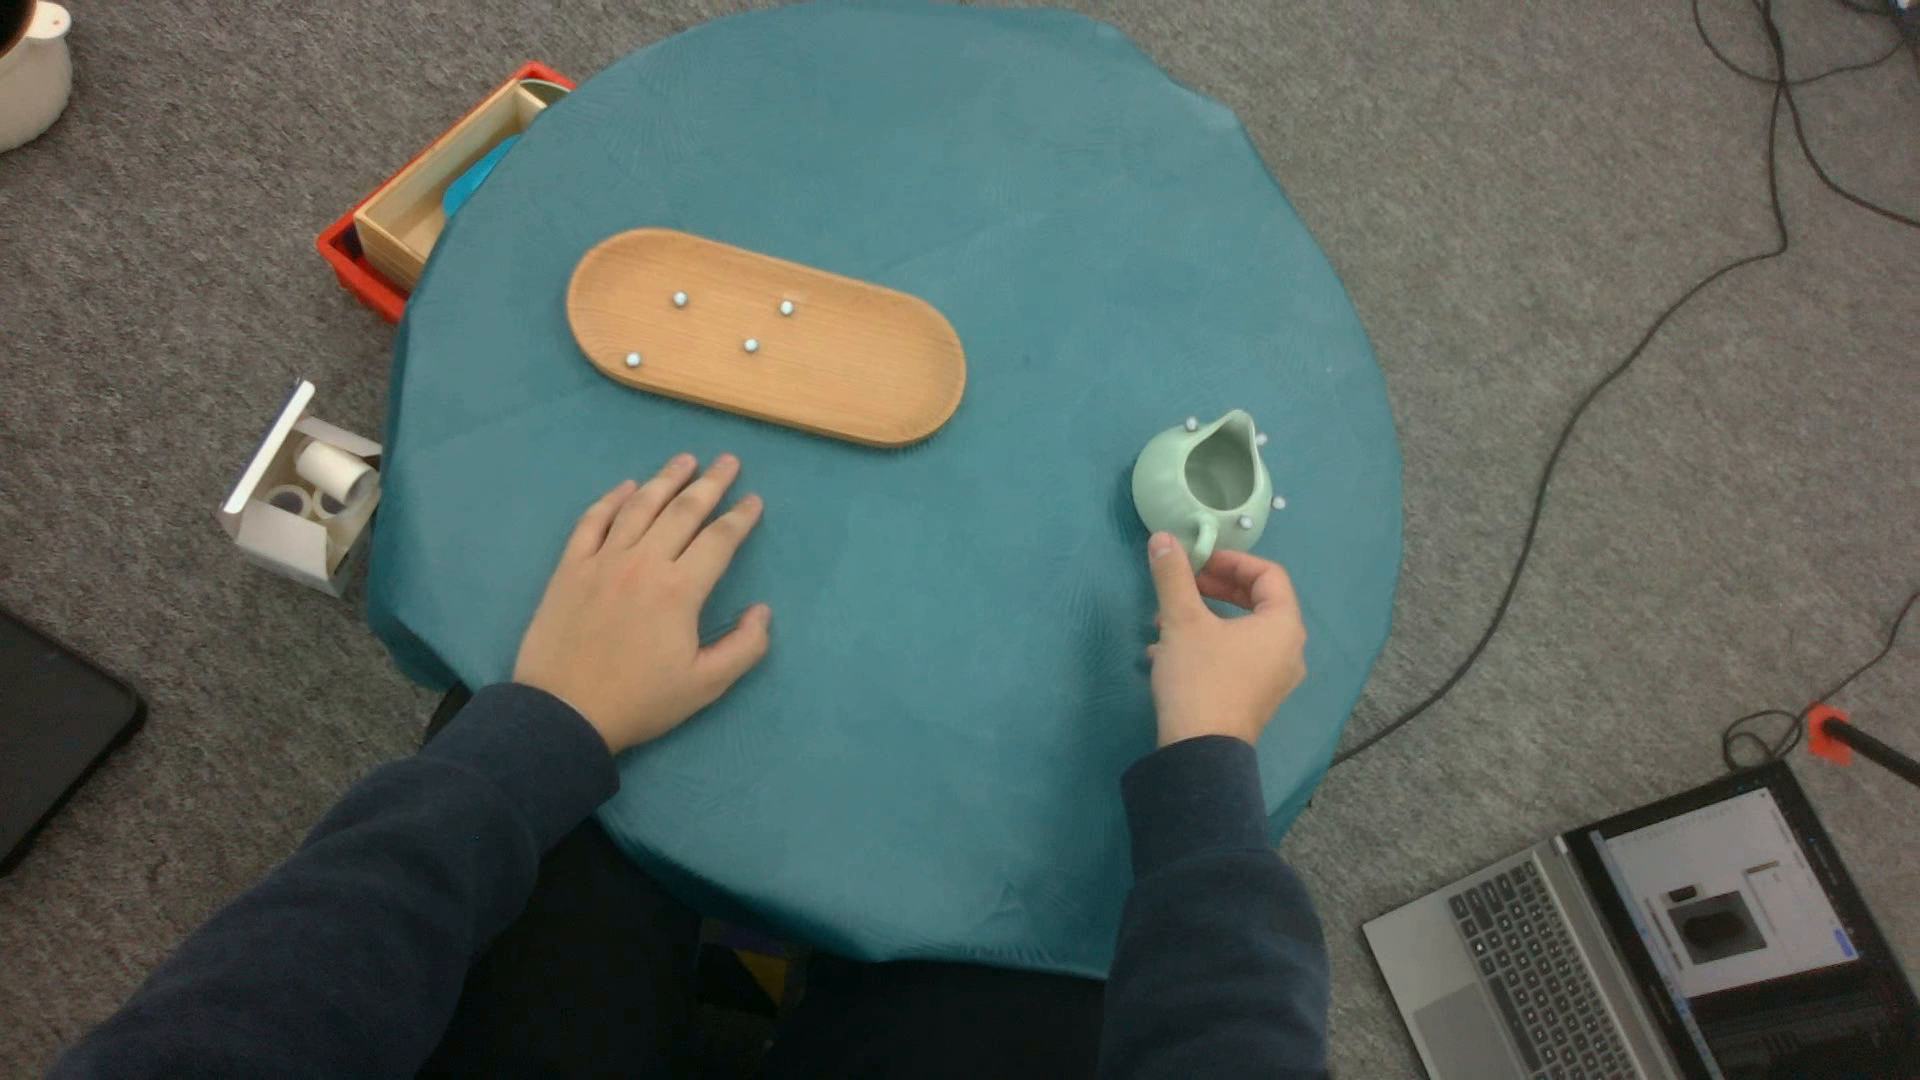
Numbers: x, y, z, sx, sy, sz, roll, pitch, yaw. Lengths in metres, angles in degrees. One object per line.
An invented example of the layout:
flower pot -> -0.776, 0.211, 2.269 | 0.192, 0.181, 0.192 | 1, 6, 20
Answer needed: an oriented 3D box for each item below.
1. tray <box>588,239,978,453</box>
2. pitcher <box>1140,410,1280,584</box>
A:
tray -> -0.102, -0.114, 0.815 | 0.231, 0.020, 0.102 | 14, 69, -10
pitcher -> 0.148, -0.021, 0.816 | 0.086, 0.060, 0.108 | 20, 69, -3
